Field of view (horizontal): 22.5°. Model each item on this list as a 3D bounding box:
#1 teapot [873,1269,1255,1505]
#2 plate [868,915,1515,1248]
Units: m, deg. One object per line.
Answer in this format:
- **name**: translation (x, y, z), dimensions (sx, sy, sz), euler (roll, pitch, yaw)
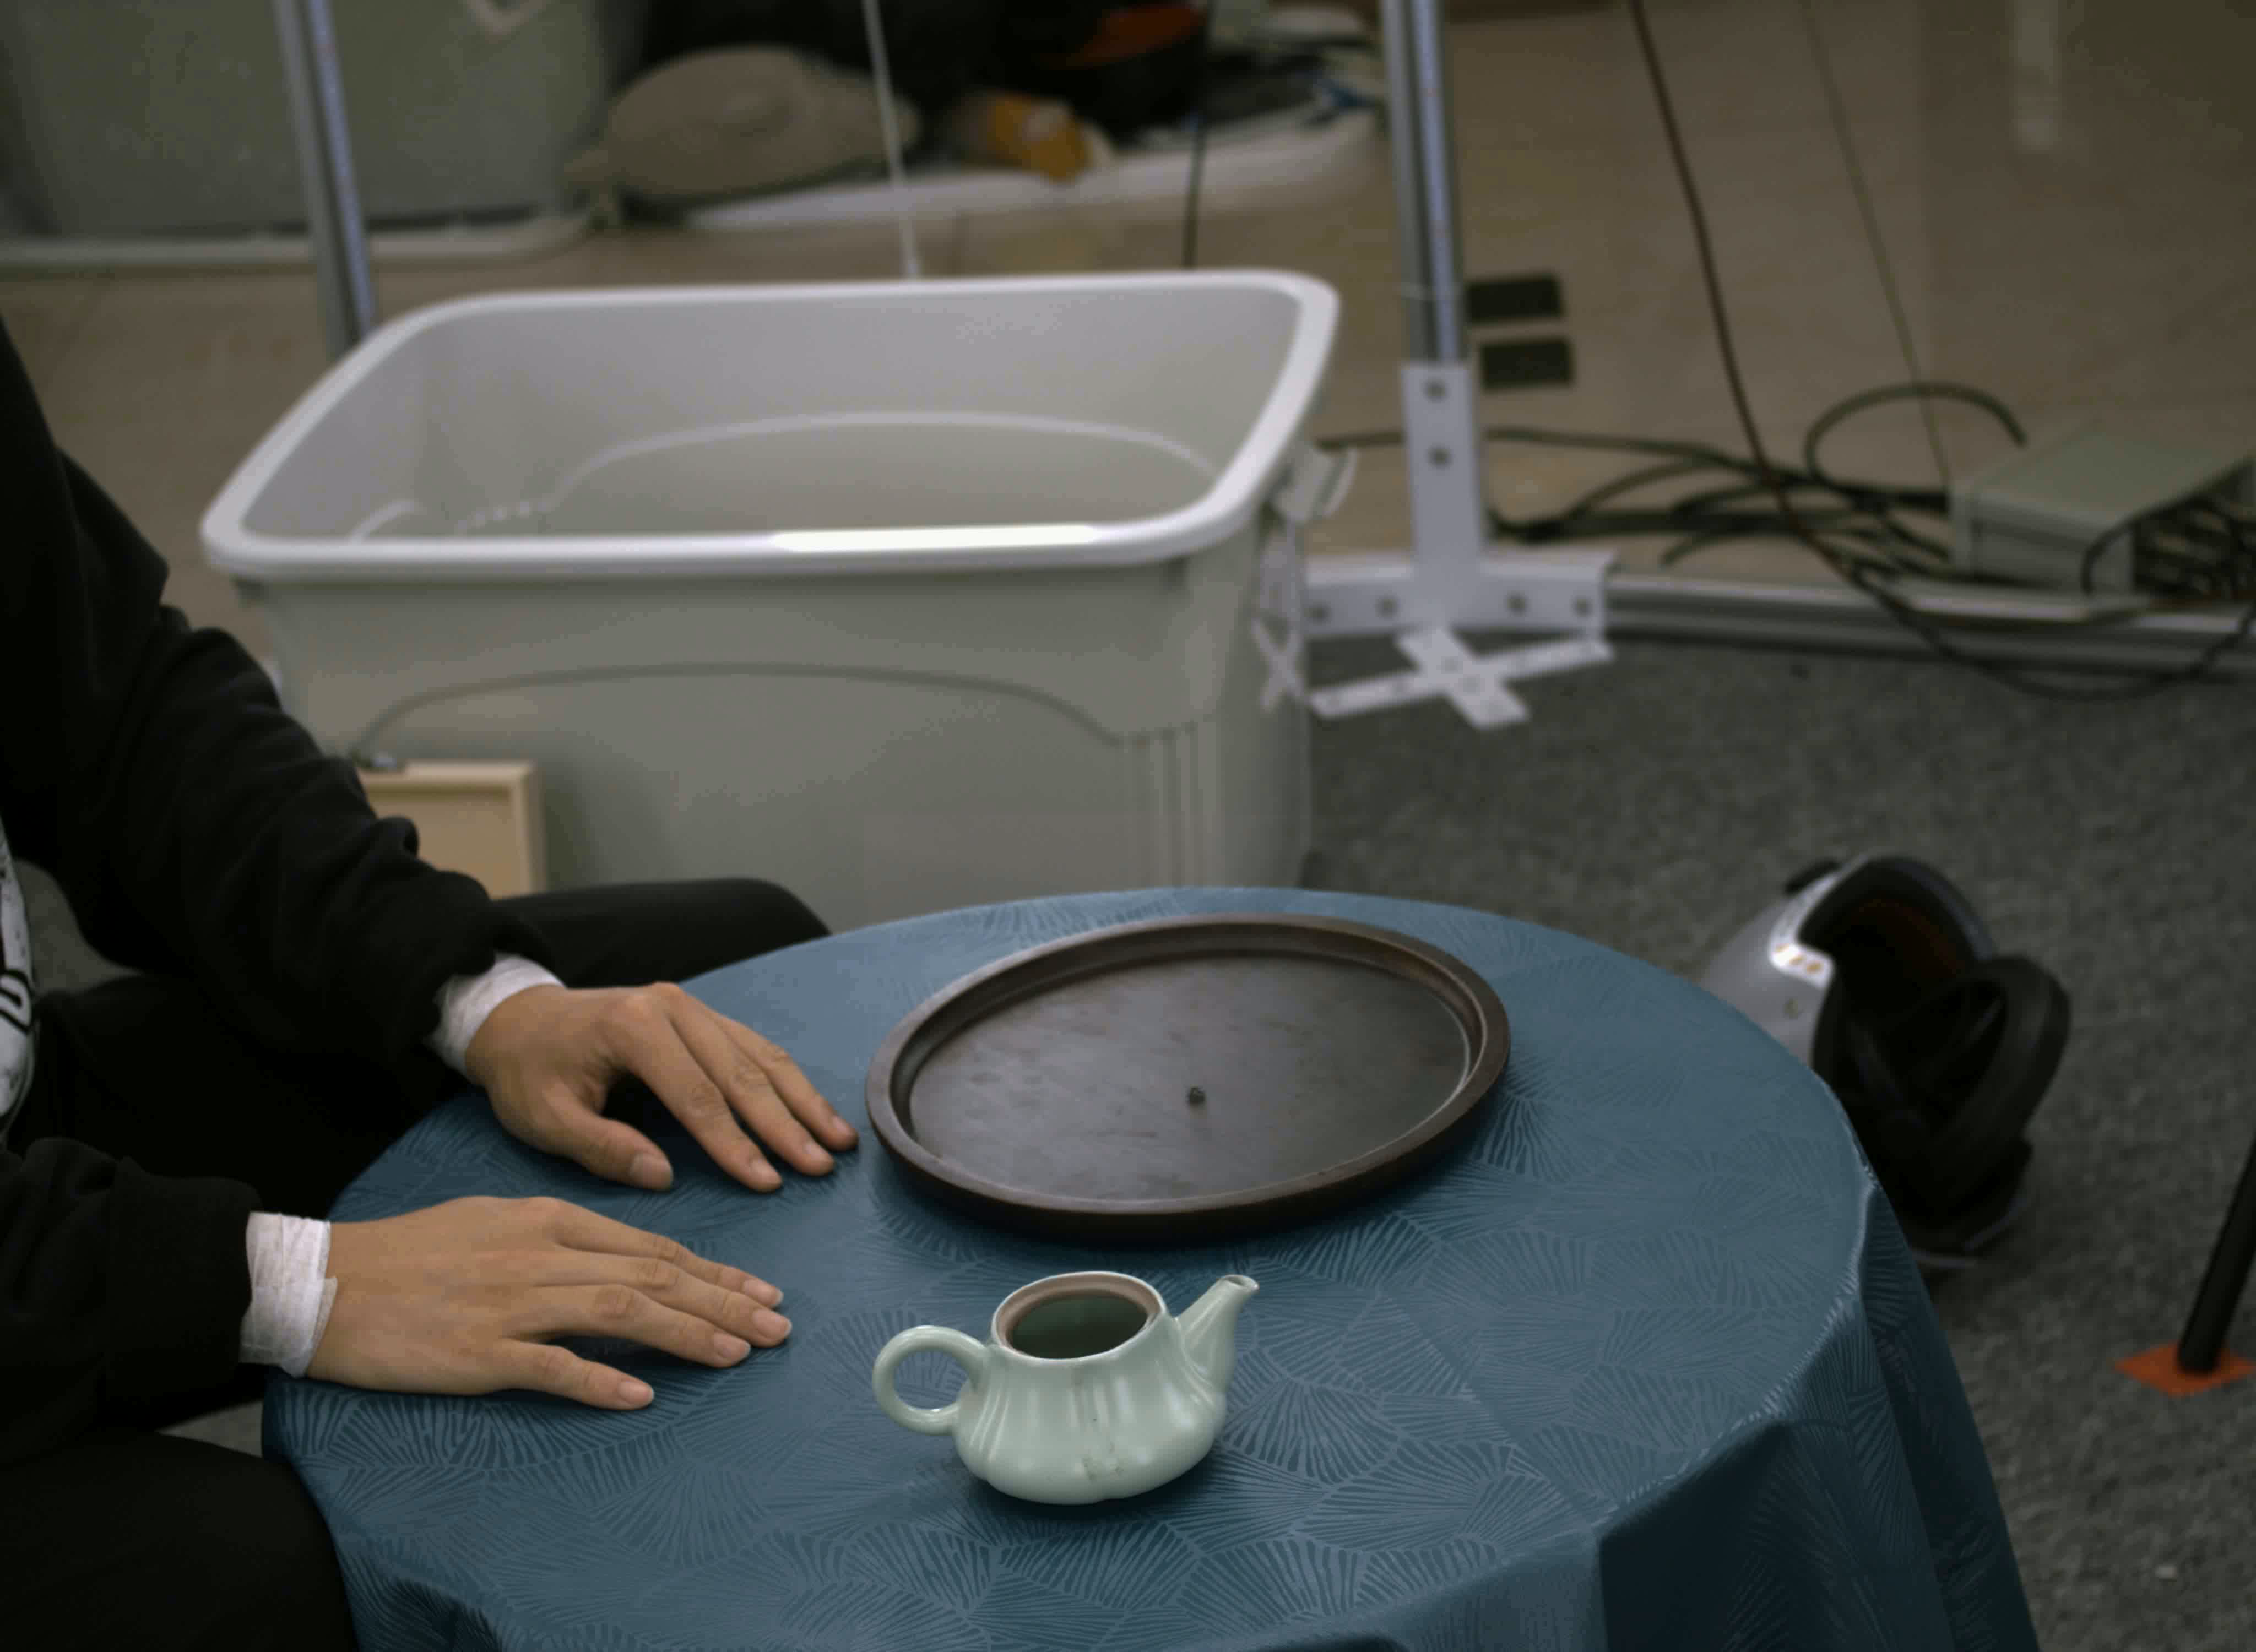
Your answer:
- **teapot**: translation (-0.020, 0.193, 1.966), dimensions (0.136, 0.062, 0.095), euler (-10, 27, -8)
- **plate**: translation (0.025, 0.097, 2.205), dimensions (0.254, 0.029, 0.251), euler (-5, 26, 2)
